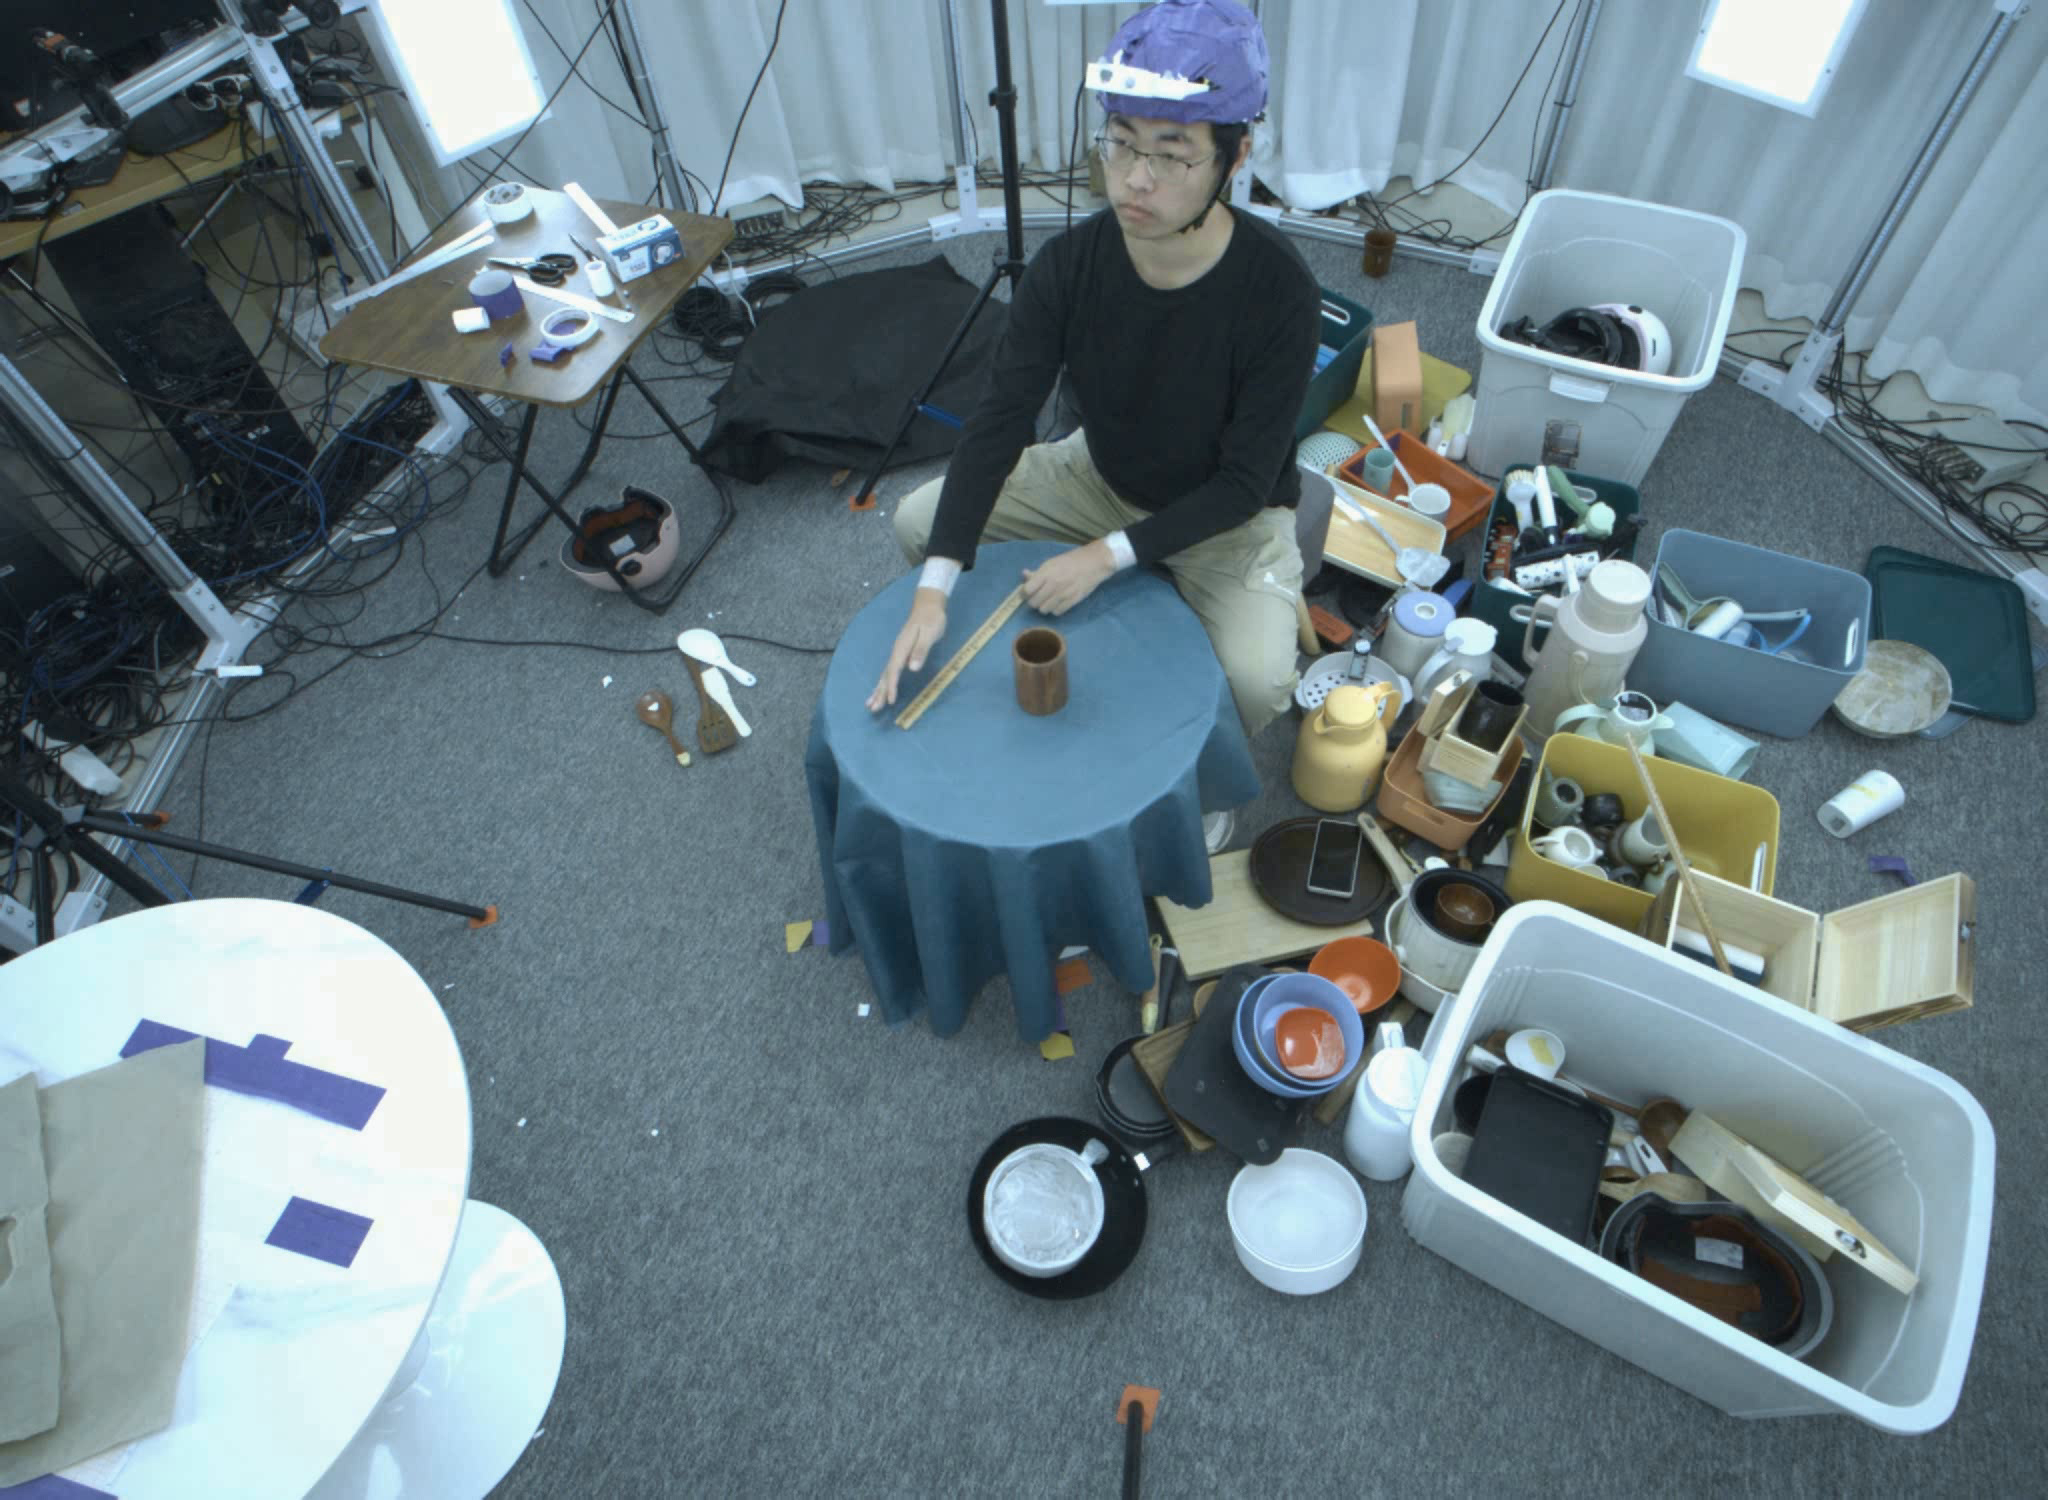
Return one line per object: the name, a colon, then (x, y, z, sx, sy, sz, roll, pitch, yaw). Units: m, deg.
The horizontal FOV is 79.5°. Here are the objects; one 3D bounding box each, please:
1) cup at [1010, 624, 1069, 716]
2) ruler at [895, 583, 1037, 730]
cup: (0.023, -0.117, 1.798, 0.087, 0.119, 0.087, -1, 55, 2)
ruler: (-0.087, -0.152, 1.892, 0.027, 0.022, 0.333, 33, 62, 15)
